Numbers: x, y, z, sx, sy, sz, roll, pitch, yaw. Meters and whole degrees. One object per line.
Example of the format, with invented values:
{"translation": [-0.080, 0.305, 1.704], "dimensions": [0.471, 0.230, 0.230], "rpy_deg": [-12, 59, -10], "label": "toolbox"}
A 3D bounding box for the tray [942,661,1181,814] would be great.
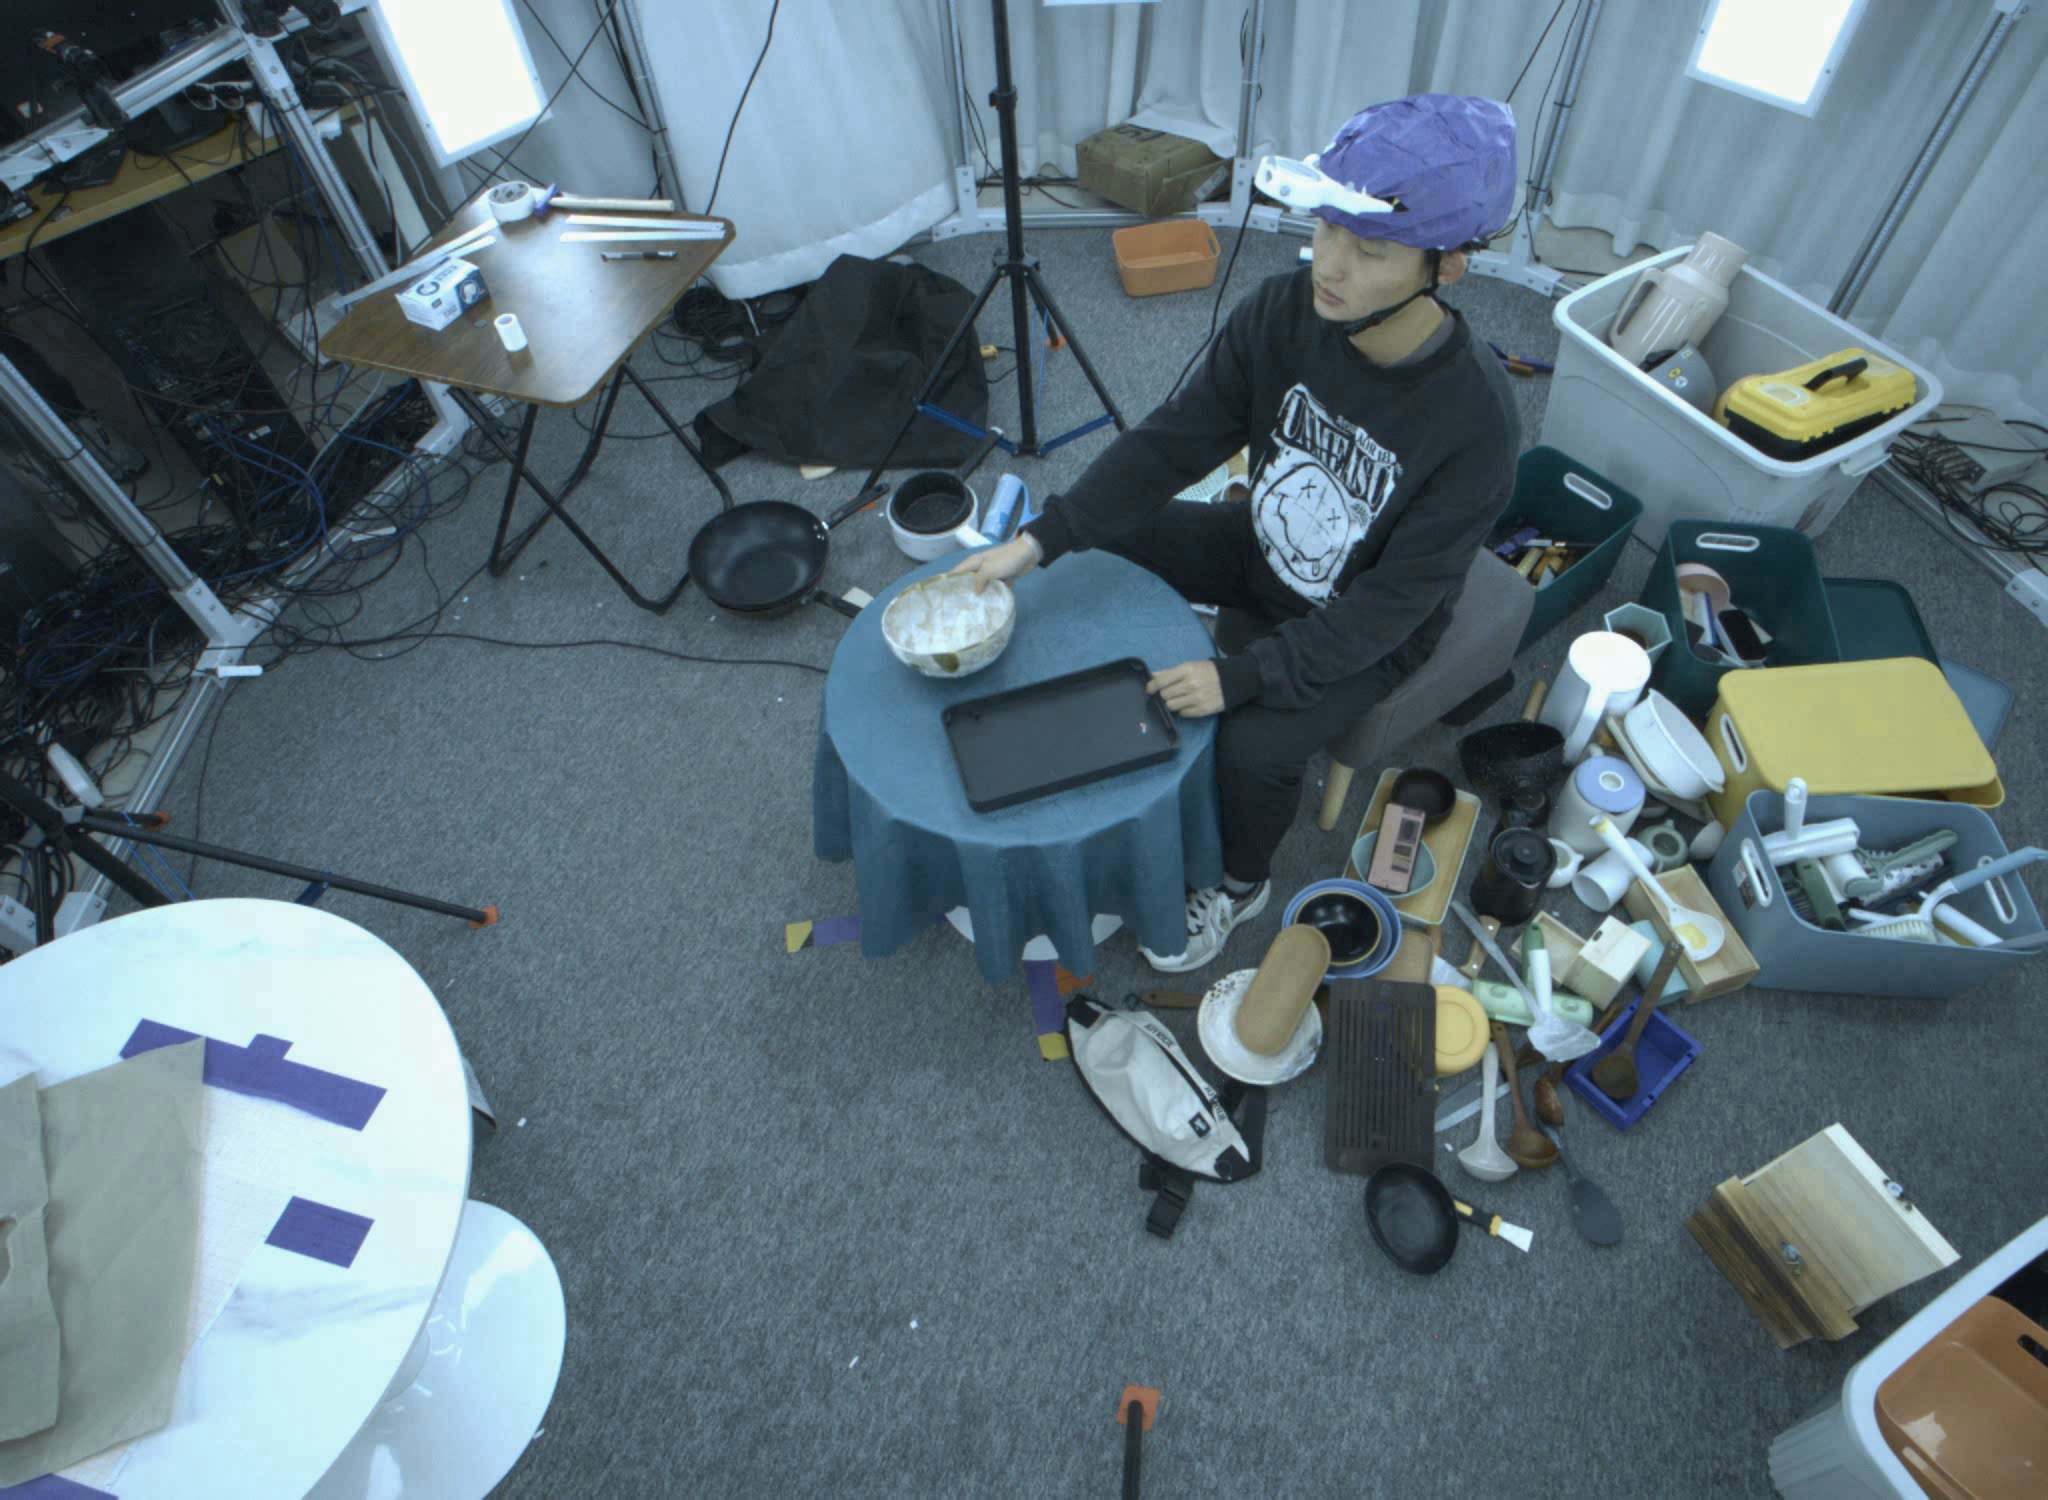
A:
{"translation": [0.052, -0.021, 1.787], "dimensions": [0.320, 0.037, 0.181], "rpy_deg": [-14, 54, -9], "label": "tray"}

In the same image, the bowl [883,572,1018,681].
{"translation": [-0.101, -0.172, 1.855], "dimensions": [0.214, 0.096, 0.212], "rpy_deg": [-5, 43, 6], "label": "bowl"}
